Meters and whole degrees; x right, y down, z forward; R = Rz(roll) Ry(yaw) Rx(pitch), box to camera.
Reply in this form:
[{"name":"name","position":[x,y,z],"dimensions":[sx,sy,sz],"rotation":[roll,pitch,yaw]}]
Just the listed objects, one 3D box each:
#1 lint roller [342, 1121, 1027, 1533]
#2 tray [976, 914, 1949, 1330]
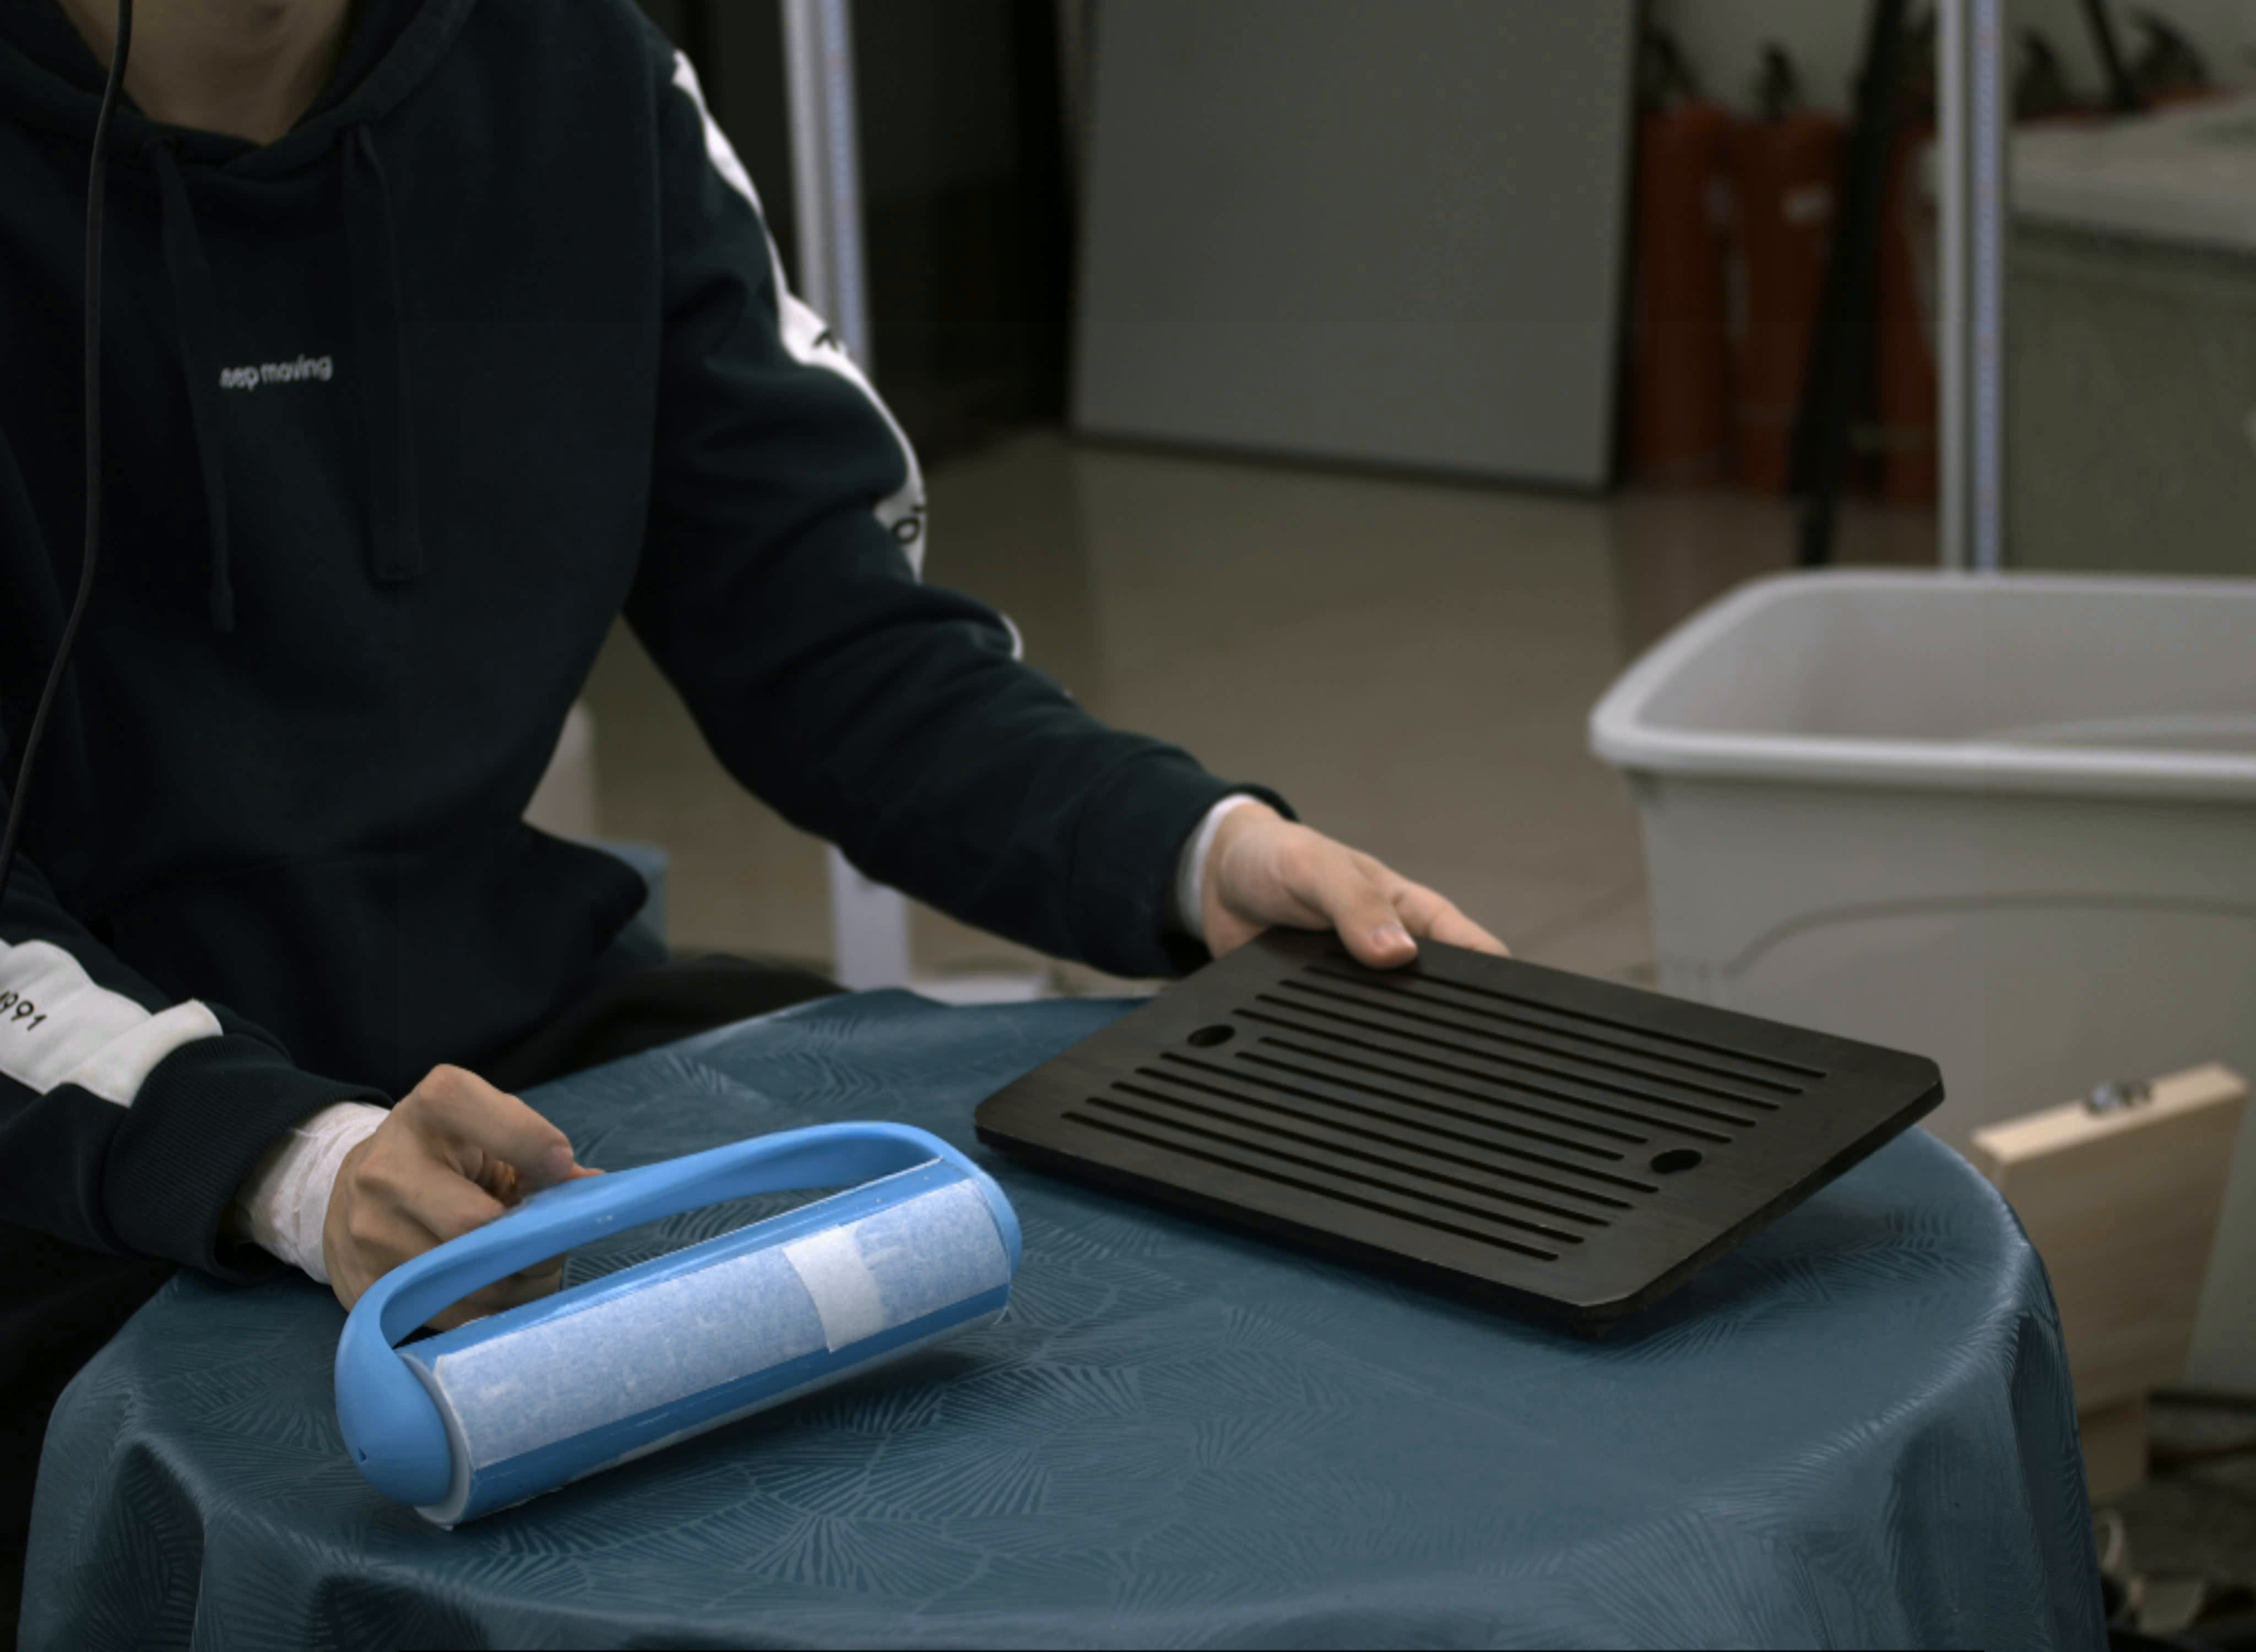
[{"name":"lint roller","position":[-0.161,0.139,1.612],"dimensions":[0.224,0.068,0.182],"rotation":[-21,21,-36]},{"name":"tray","position":[0.104,0.092,1.748],"dimensions":[0.167,0.019,0.309],"rotation":[-30,26,-33]}]
